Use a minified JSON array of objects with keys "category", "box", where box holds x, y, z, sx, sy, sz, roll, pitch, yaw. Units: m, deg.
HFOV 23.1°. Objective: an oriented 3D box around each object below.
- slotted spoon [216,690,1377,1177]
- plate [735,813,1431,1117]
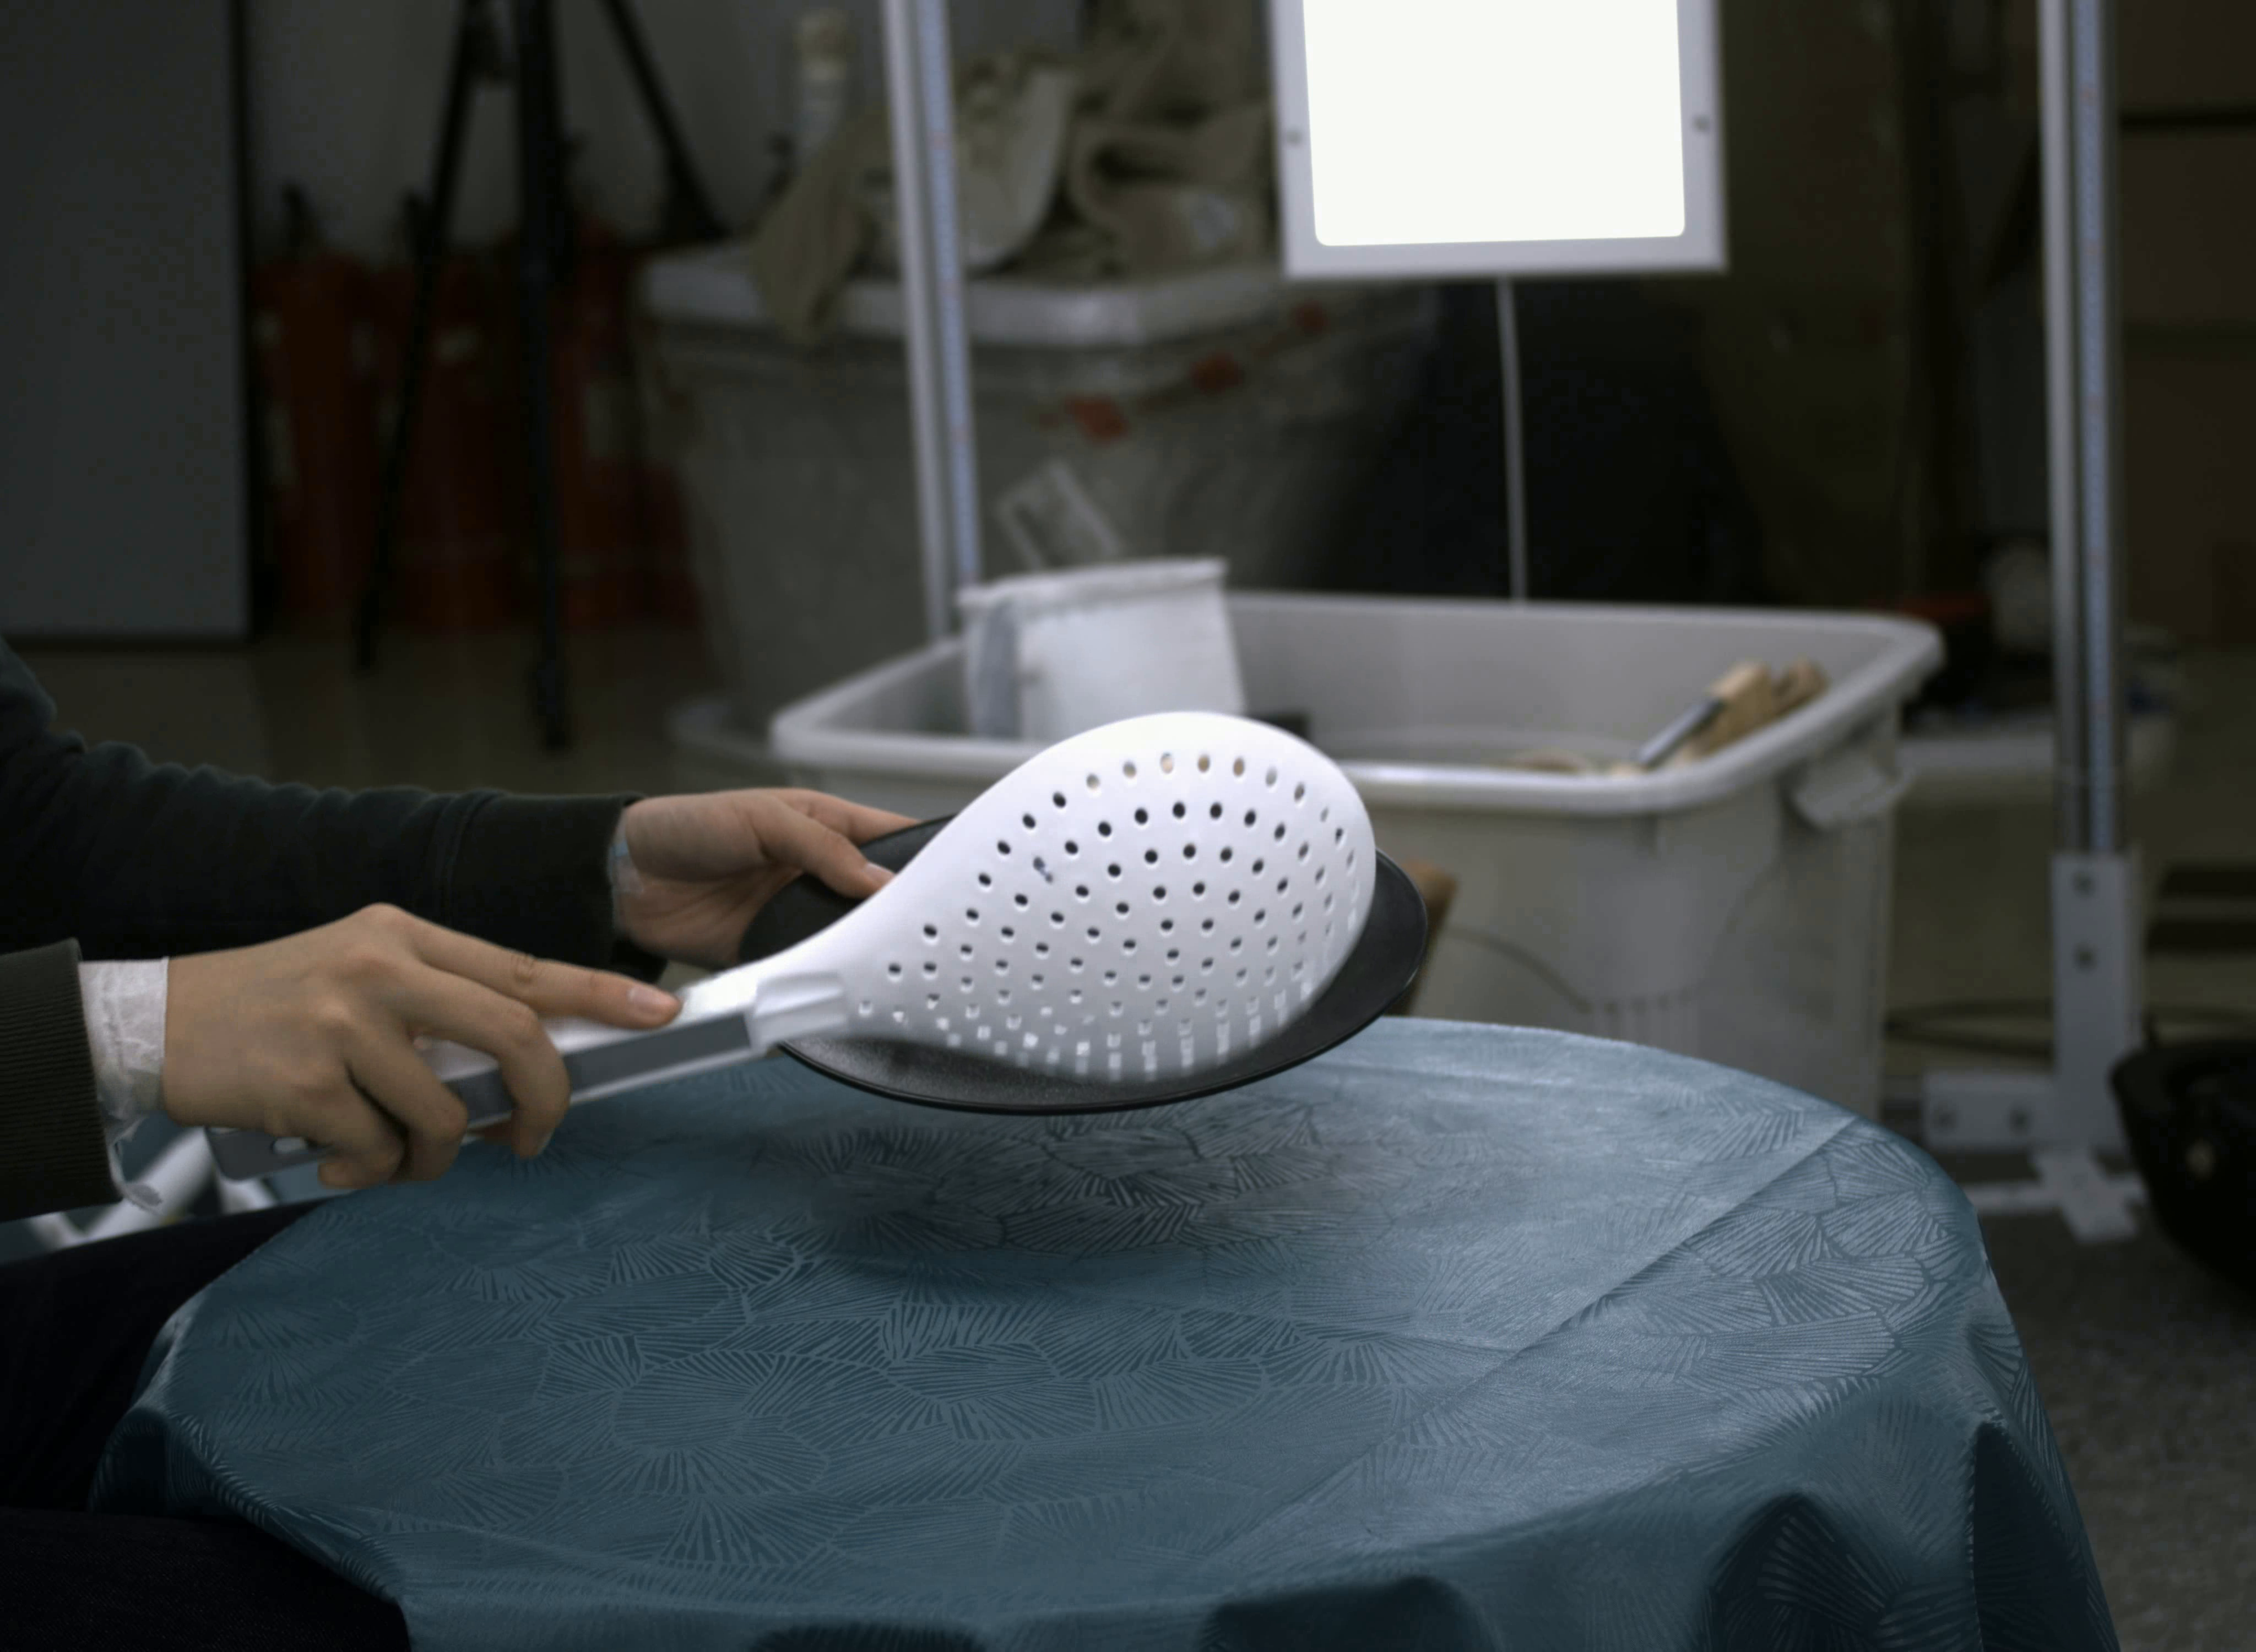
[{"category":"slotted spoon","box":[-0.095,0.046,1.610,0.349,0.136,0.046,-11,42,3]},{"category":"plate","box":[-0.015,0.049,1.915,0.244,0.023,0.244,-5,25,1]}]
